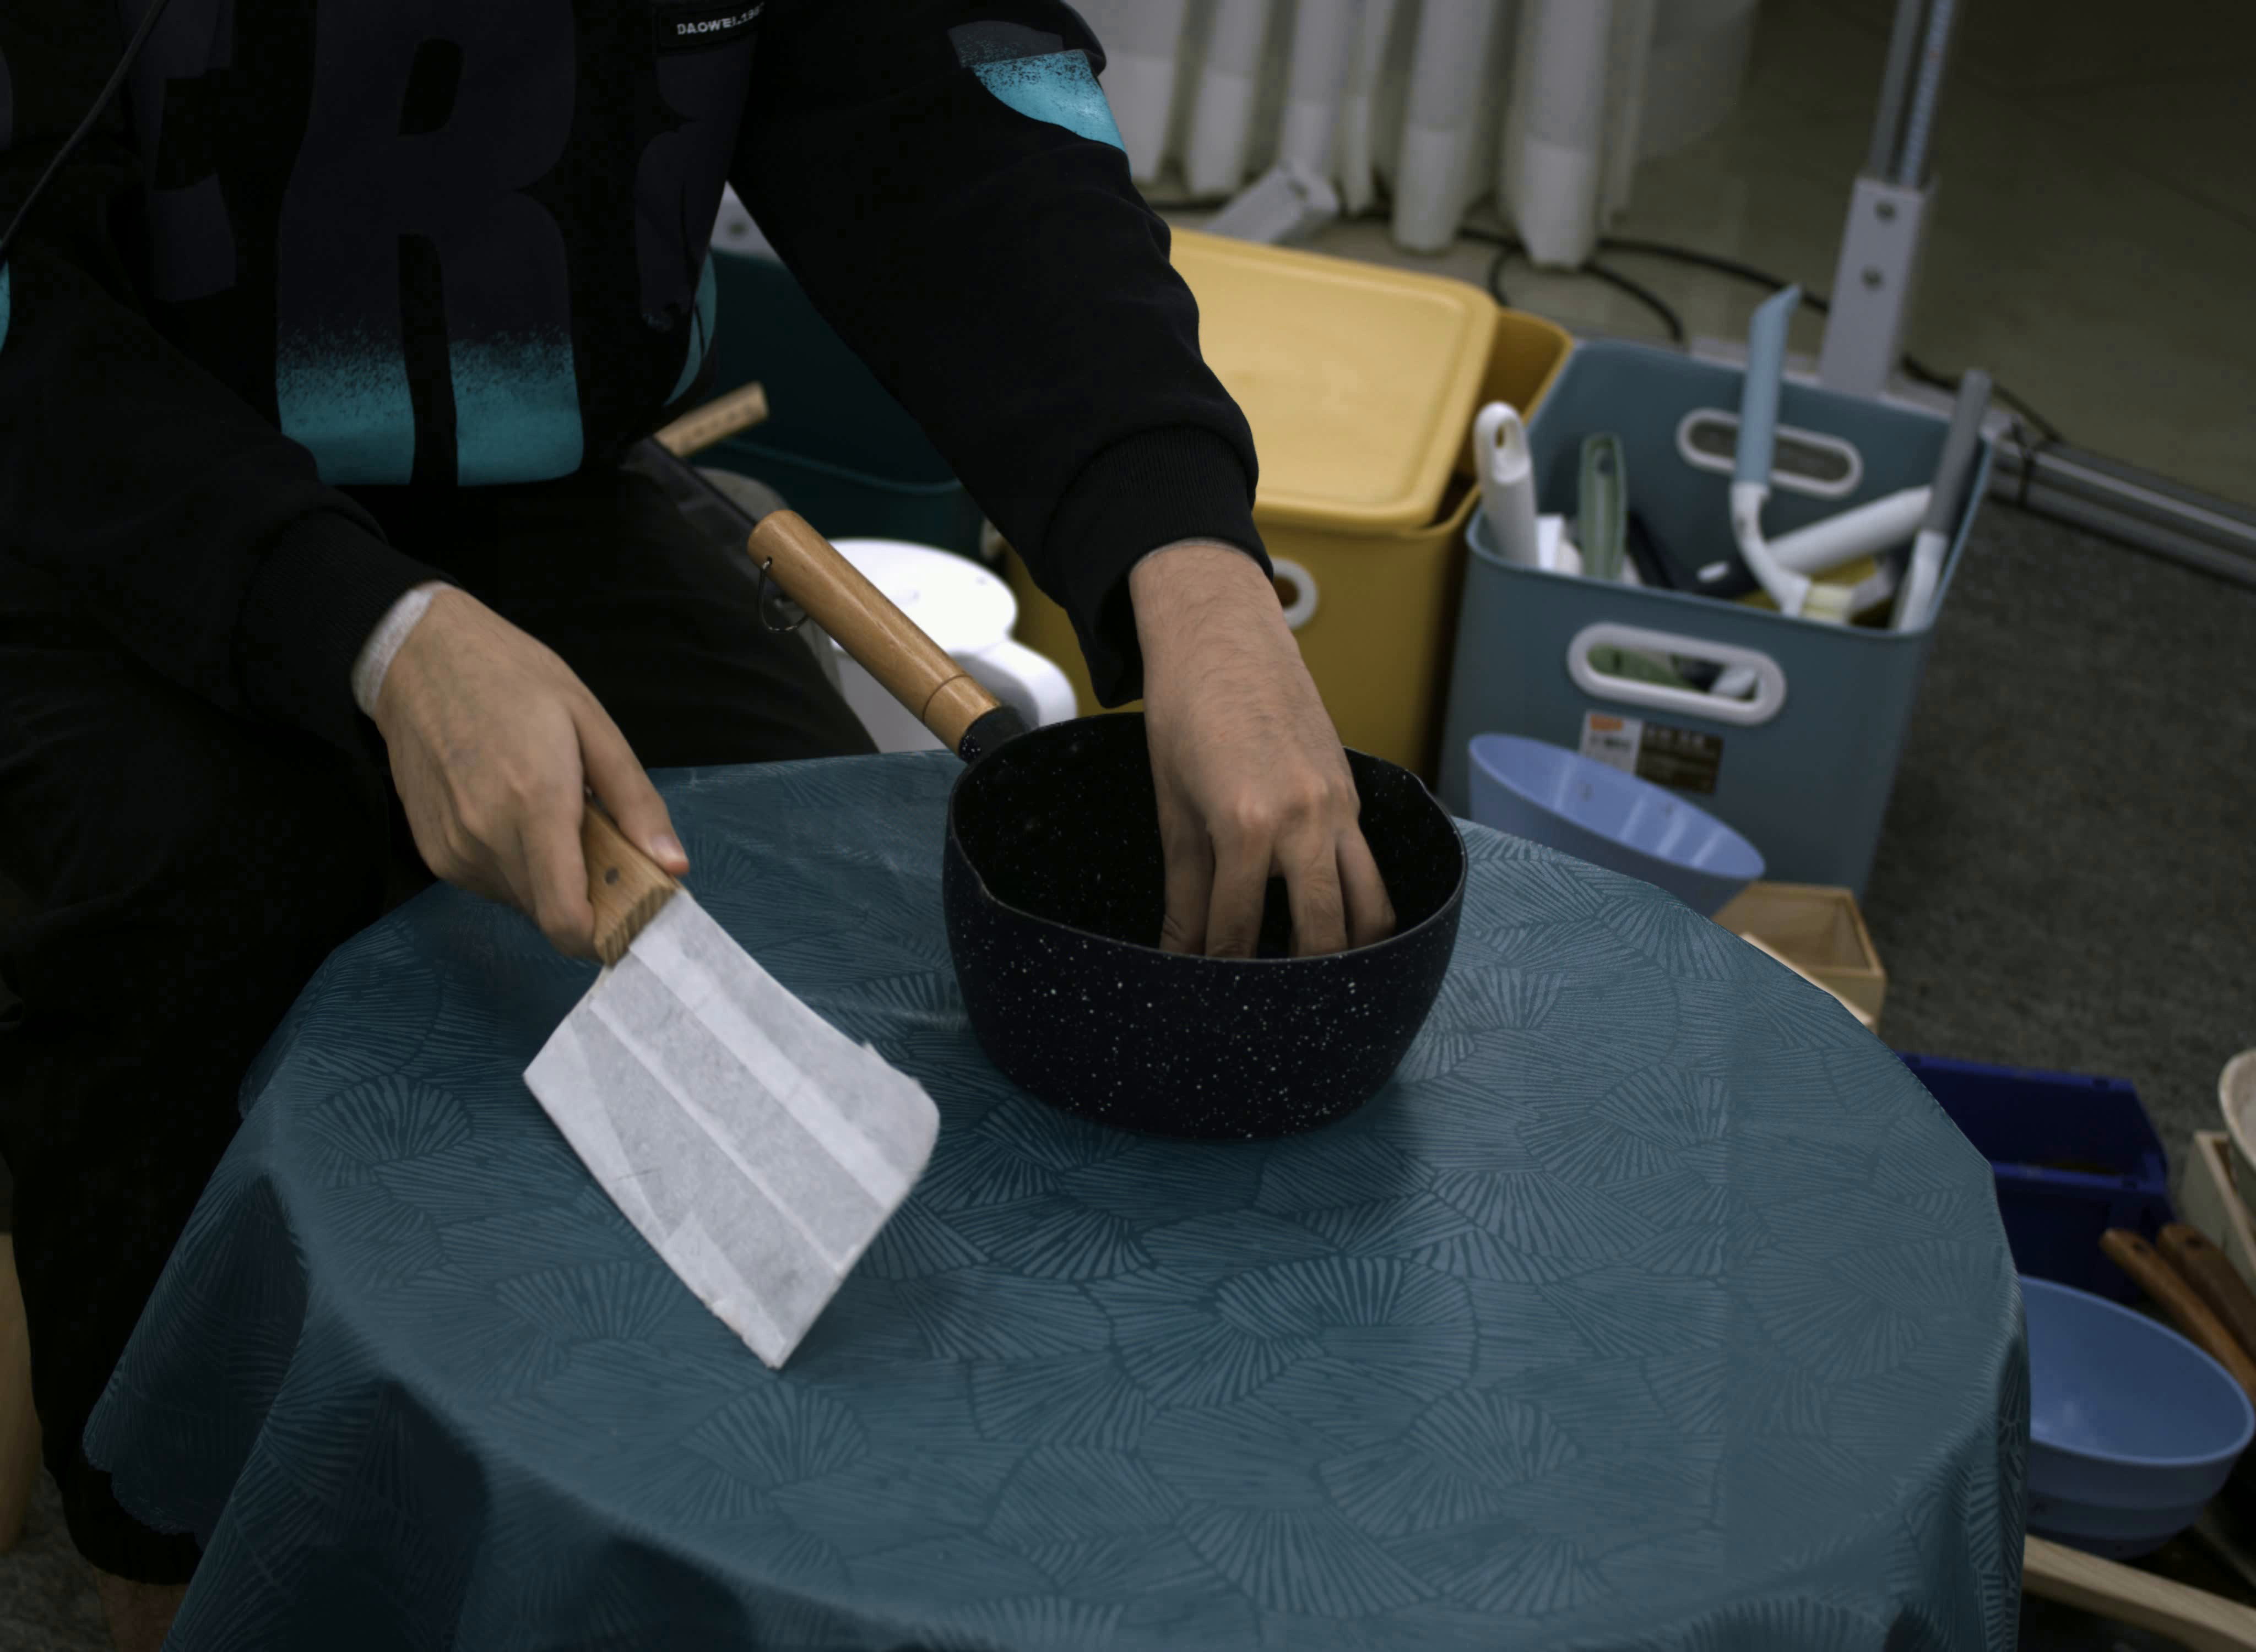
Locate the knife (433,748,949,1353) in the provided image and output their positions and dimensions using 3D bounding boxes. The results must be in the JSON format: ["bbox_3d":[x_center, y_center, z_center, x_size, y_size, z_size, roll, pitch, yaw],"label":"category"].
[{"bbox_3d":[-0.157,0.062,1.792,0.021,0.114,0.318,41,4,-43],"label":"knife"}]

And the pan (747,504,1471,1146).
[{"bbox_3d":[-0.029,-0.004,1.925,0.206,0.108,0.345,-20,38,-40],"label":"pan"}]
